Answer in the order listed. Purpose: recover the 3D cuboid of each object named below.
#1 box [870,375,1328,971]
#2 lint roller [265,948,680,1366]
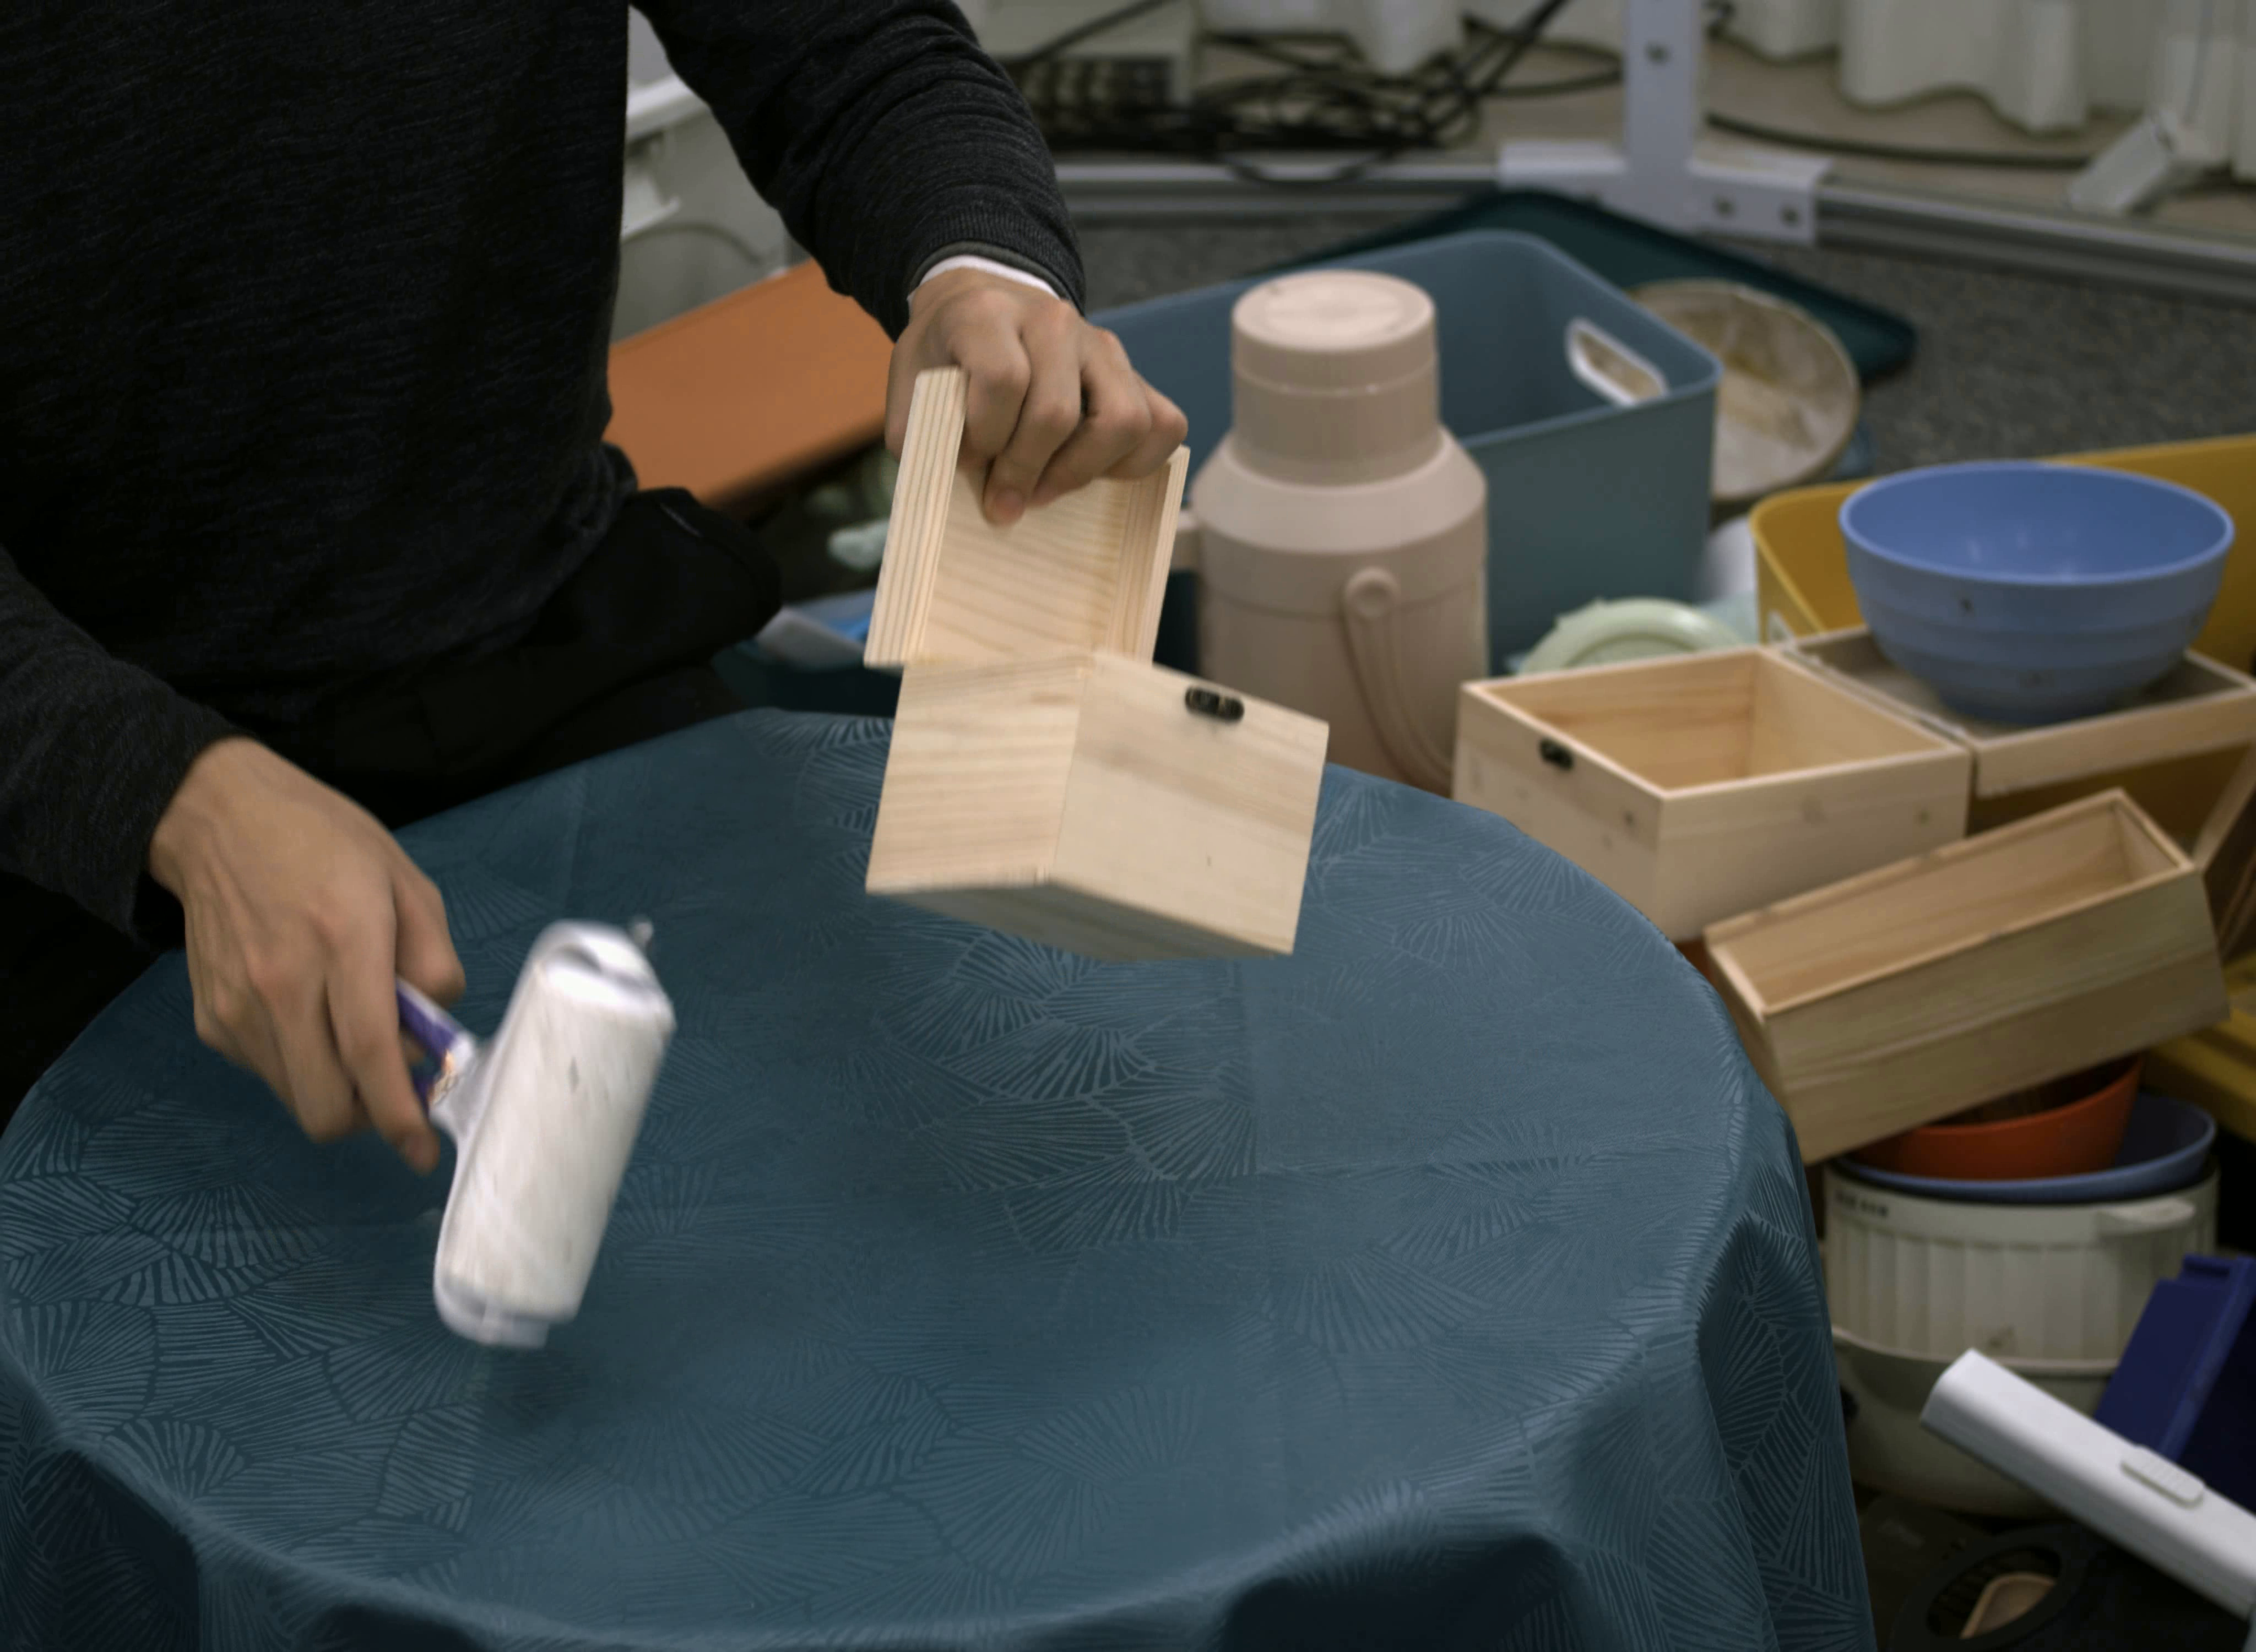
[{"bbox_3d":[-0.007,-0.054,1.844,0.102,0.186,0.132,18,-15,-35],"label":"box"},{"bbox_3d":[-0.225,0.081,1.783,0.181,0.133,0.050,26,7,35],"label":"lint roller"}]
